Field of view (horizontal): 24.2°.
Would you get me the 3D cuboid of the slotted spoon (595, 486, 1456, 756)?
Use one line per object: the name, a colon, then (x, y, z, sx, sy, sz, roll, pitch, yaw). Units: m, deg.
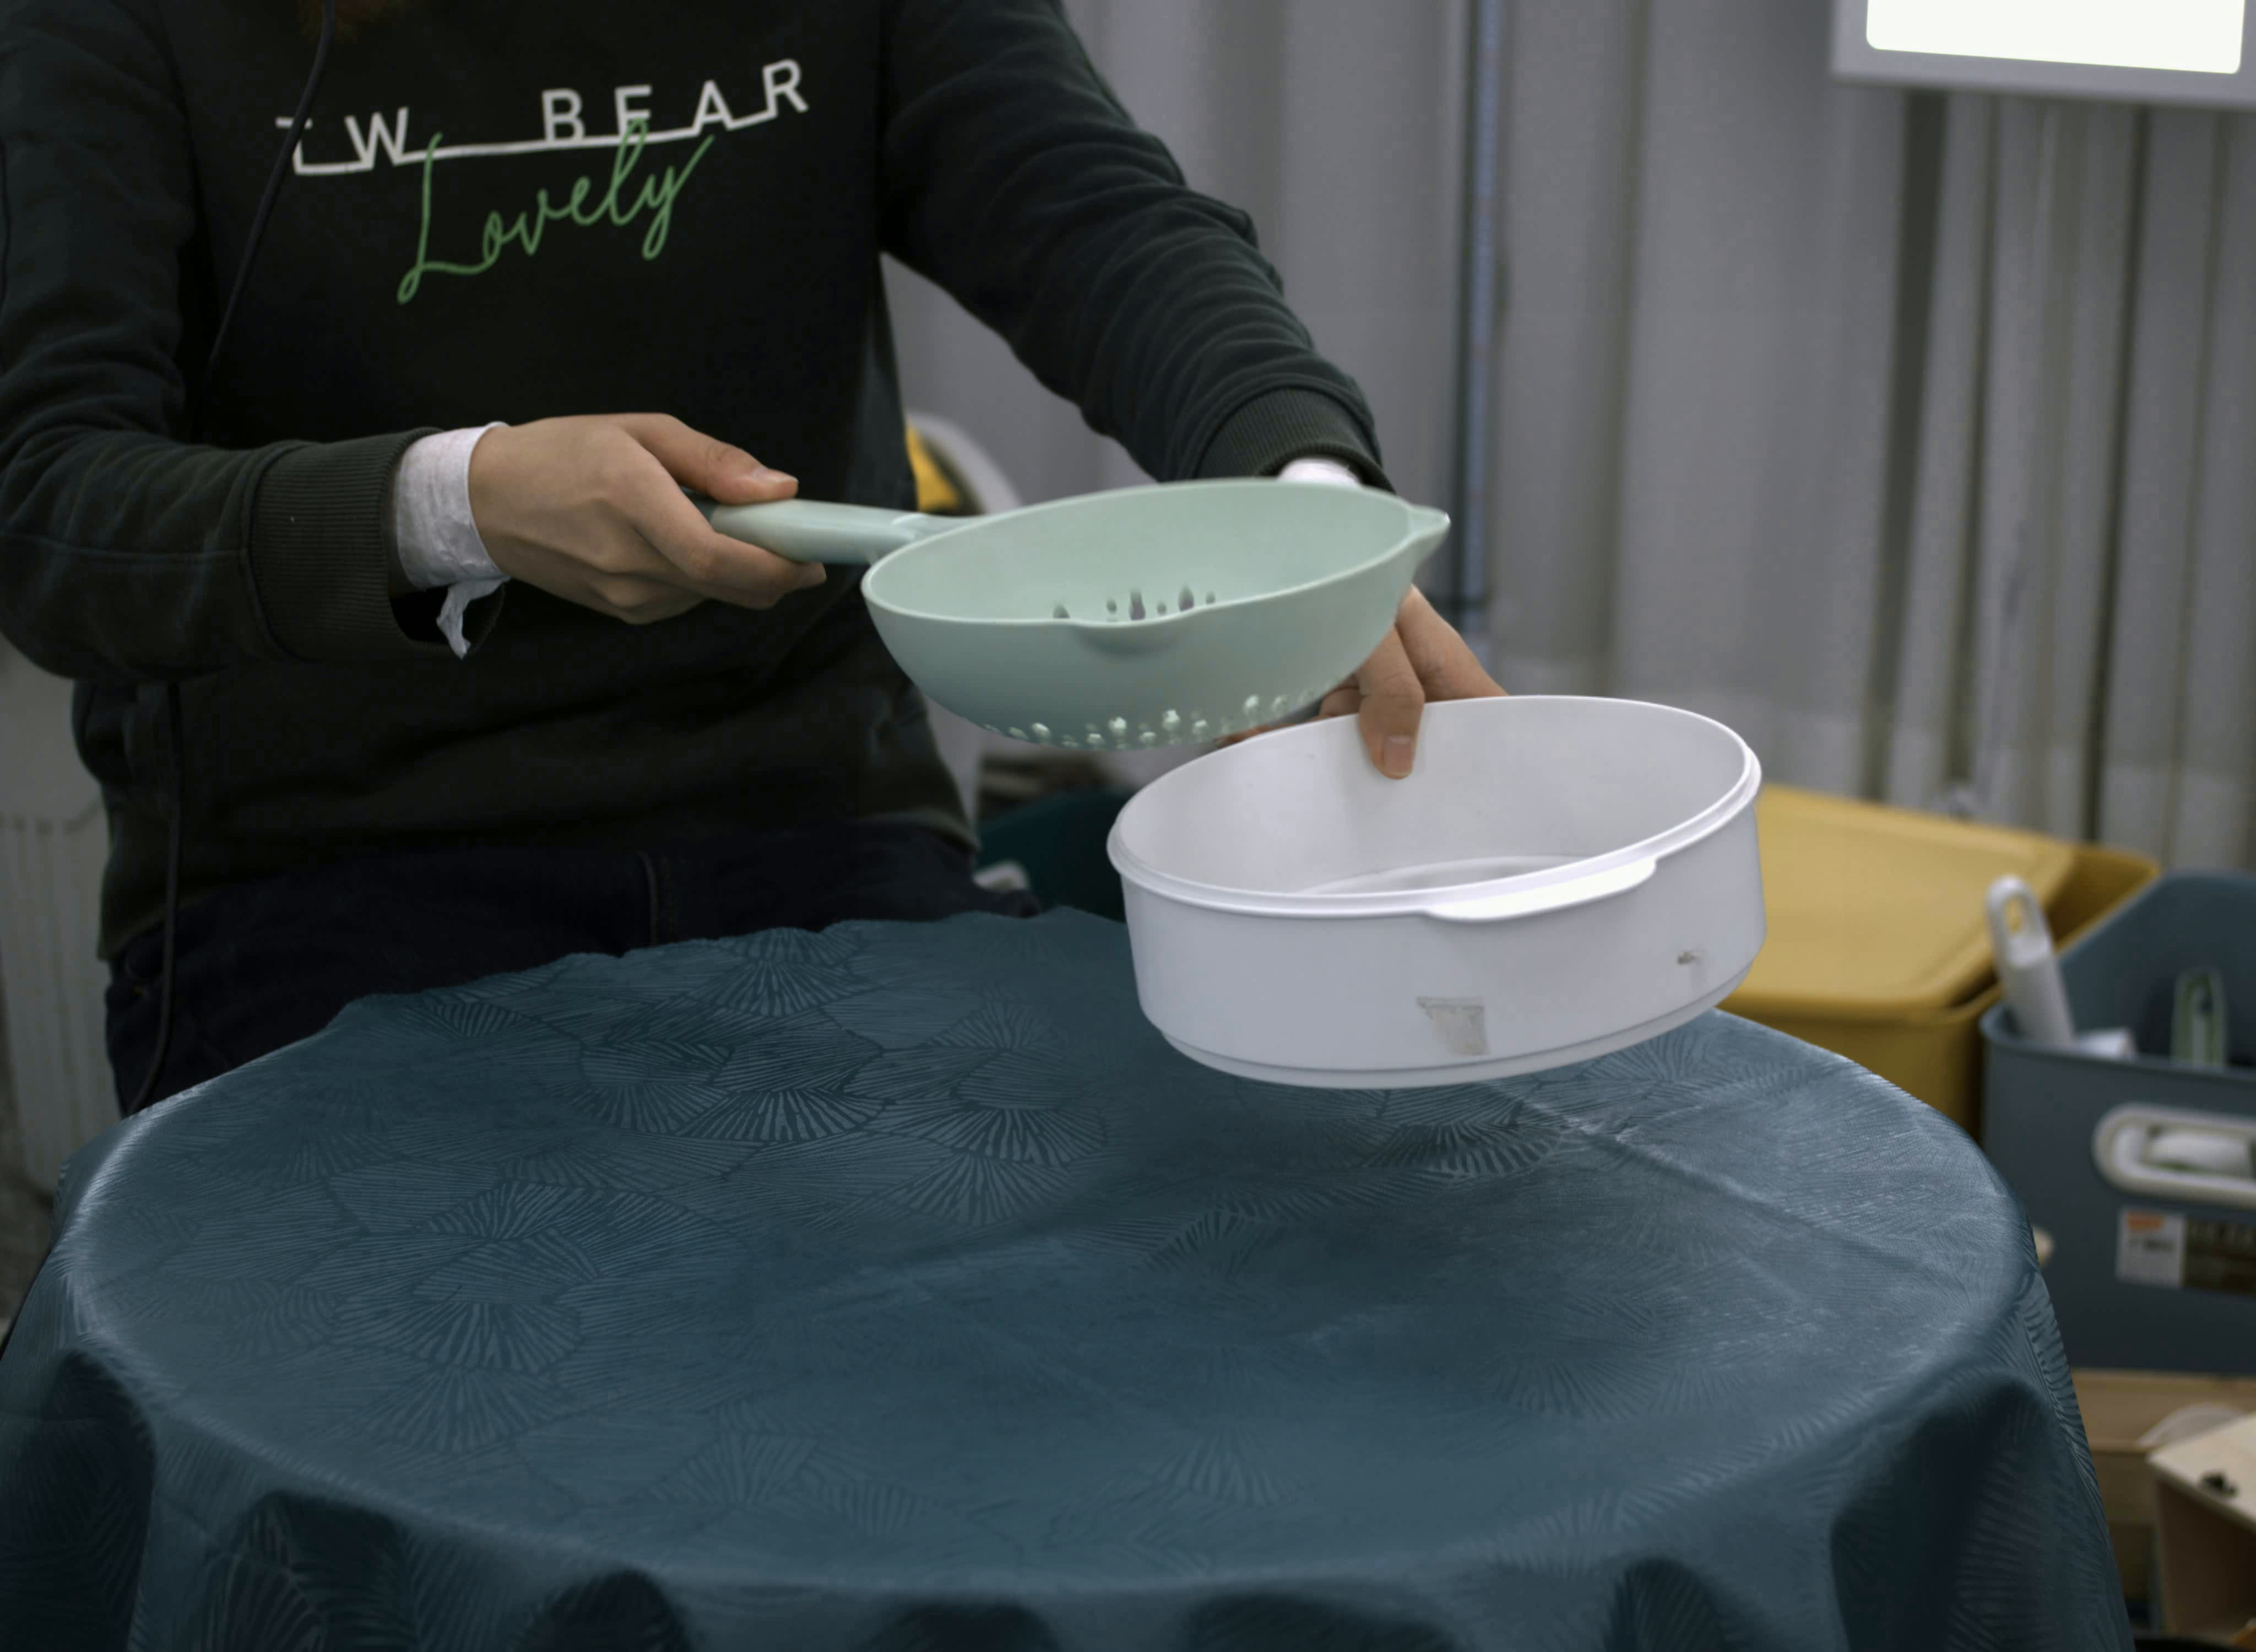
slotted spoon: (-0.058, -0.082, 1.652, 0.170, 0.076, 0.354, -18, 27, -40)

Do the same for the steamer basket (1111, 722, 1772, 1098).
steamer basket: (0.098, 0.025, 1.607, 0.202, 0.070, 0.228, -10, 16, -15)
